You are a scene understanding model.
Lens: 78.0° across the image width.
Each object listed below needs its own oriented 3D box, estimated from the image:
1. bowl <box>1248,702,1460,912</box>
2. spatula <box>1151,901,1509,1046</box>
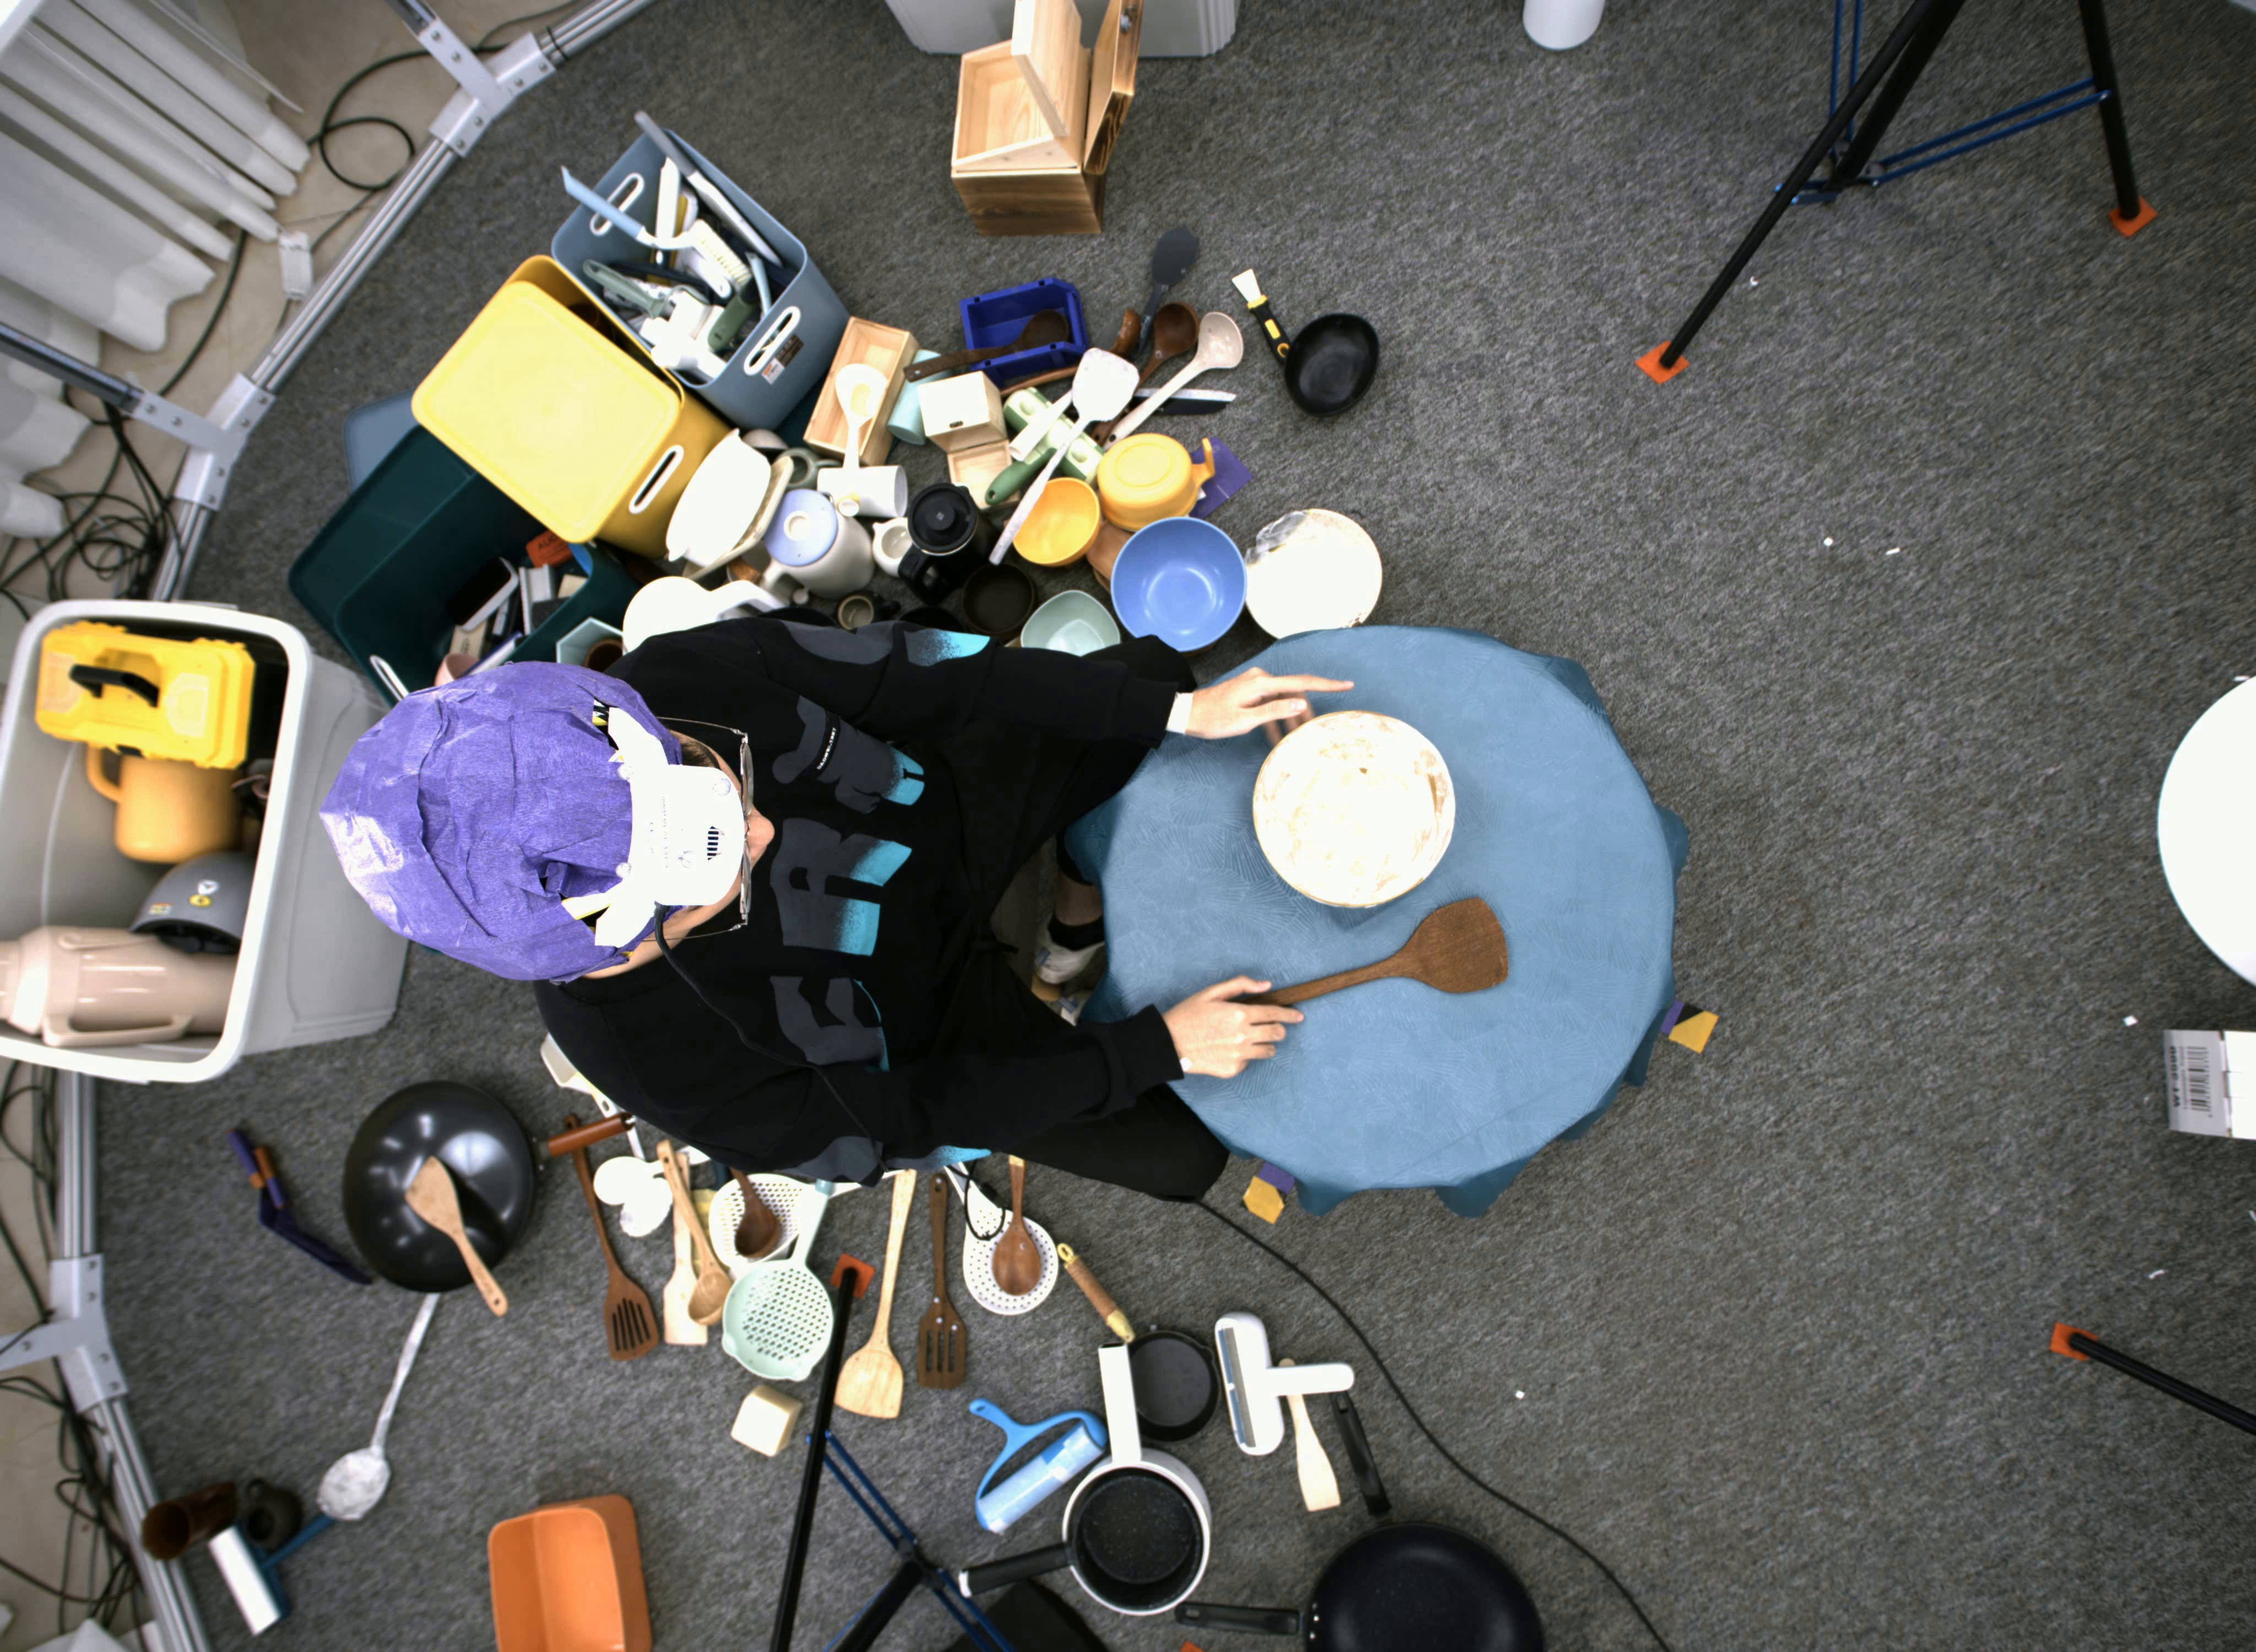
[{"bbox_3d":[0.234,-0.014,1.430,0.215,0.094,0.214,-1,87,11],"label":"bowl"},{"bbox_3d":[0.208,0.171,1.460,0.388,0.016,0.095,-17,83,8],"label":"spatula"}]
